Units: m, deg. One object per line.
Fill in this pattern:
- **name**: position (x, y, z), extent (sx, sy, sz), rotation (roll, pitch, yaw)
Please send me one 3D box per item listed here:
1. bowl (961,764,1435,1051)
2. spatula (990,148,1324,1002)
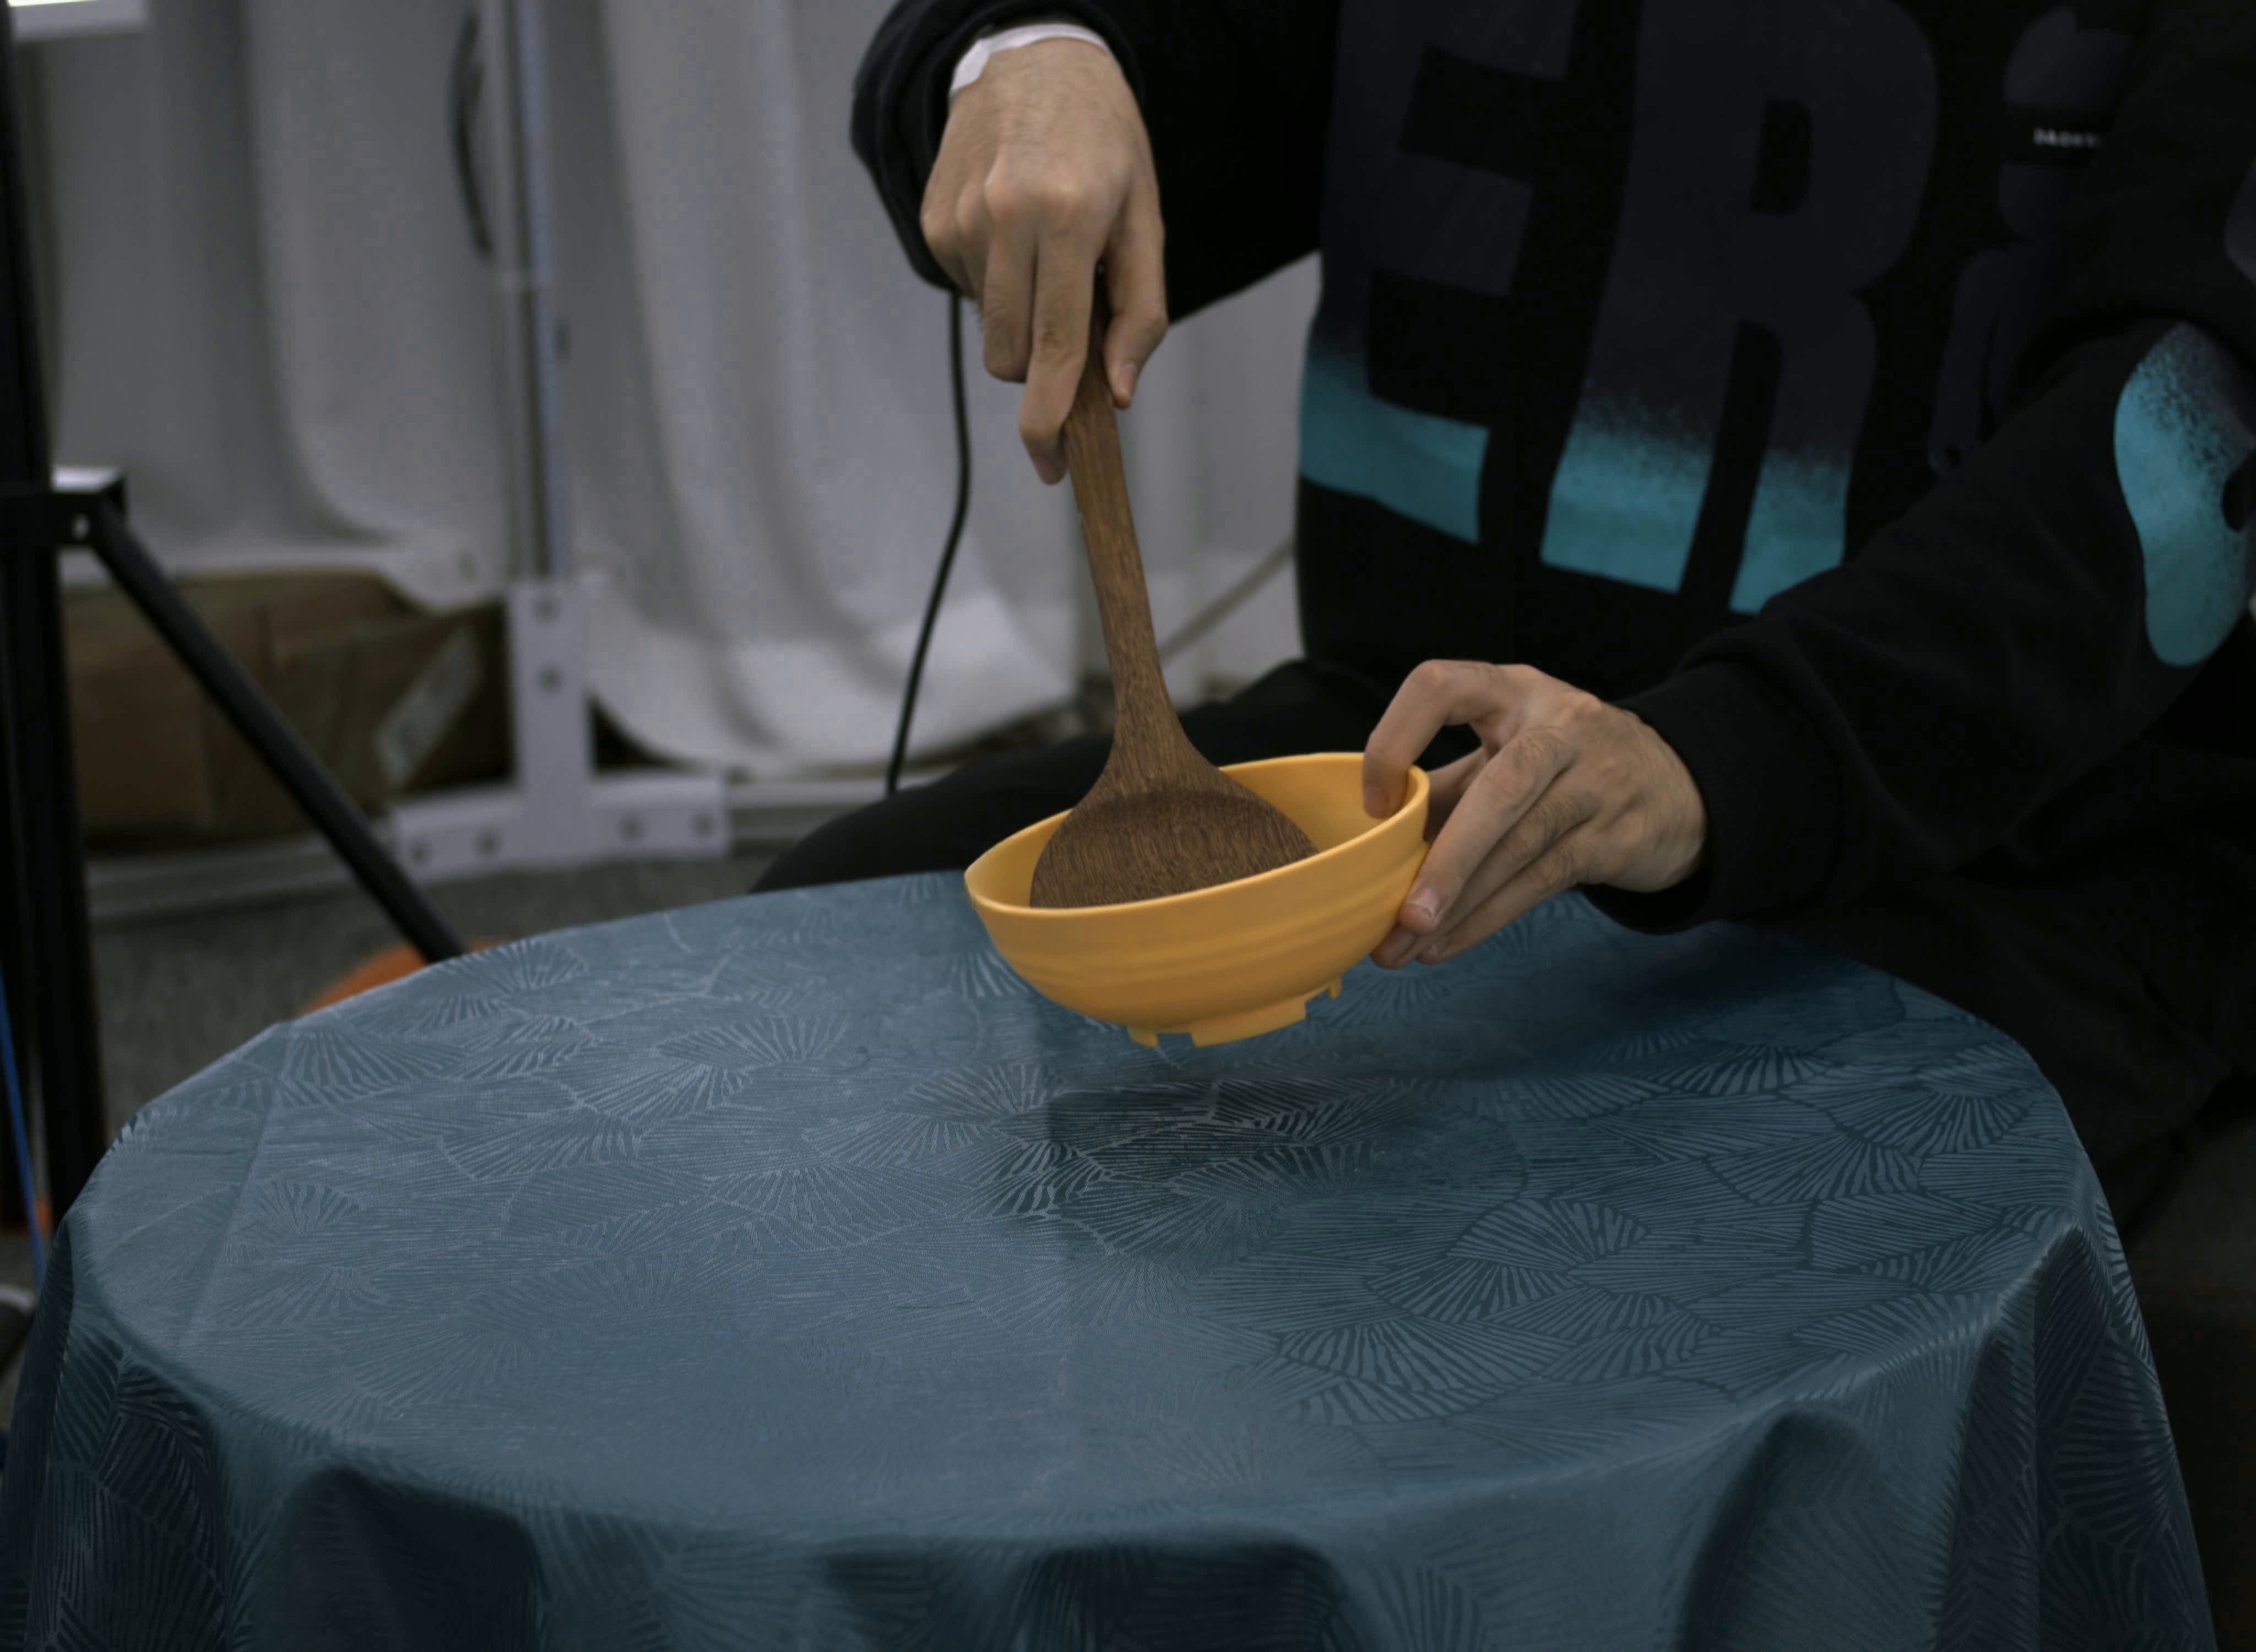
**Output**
- **bowl**: position (0.025, 0.030, 1.604), extent (0.145, 0.060, 0.146), rotation (-10, 14, 1)
- **spatula**: position (-0.006, -0.089, 1.713), extent (0.095, 0.015, 0.392), rotation (-7, 49, -4)
